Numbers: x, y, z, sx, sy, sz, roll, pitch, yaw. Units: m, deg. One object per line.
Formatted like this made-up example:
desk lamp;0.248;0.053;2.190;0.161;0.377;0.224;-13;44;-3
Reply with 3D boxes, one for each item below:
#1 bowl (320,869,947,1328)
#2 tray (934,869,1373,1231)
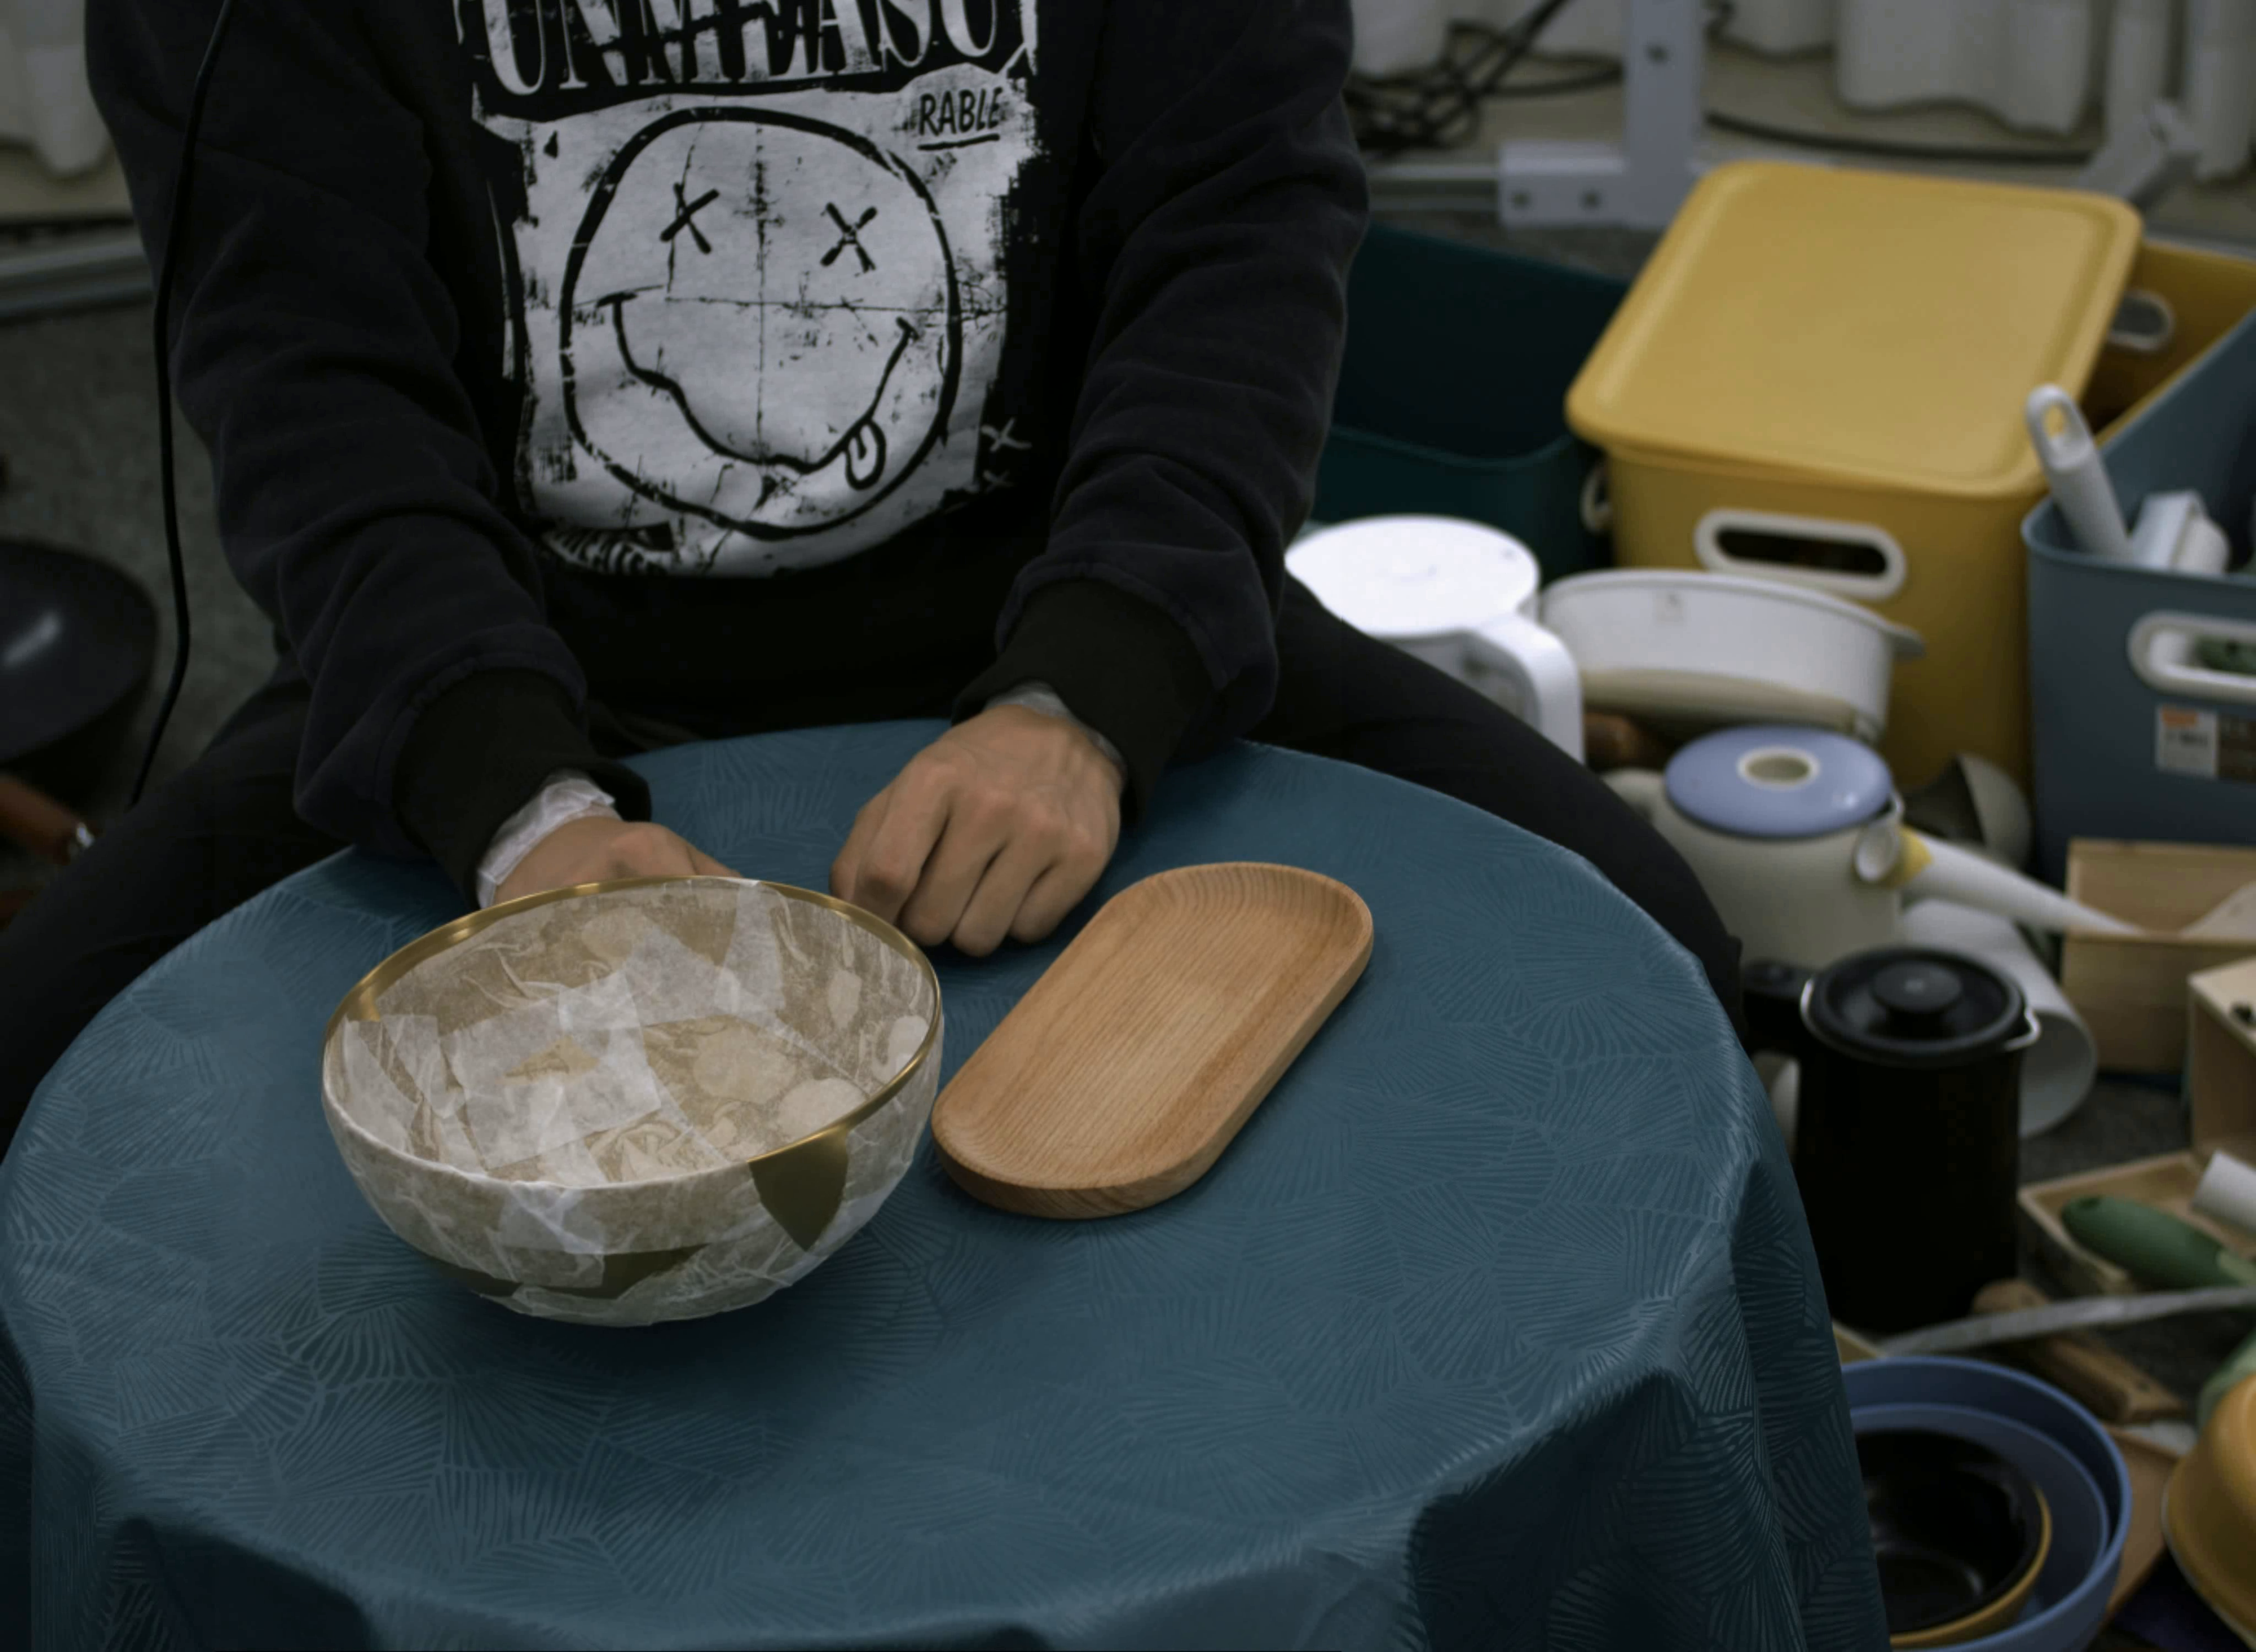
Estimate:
bowl;-0.153;0.100;1.818;0.213;0.093;0.218;-3;26;2
tray;0.011;0.075;1.935;0.101;0.020;0.235;6;30;22
